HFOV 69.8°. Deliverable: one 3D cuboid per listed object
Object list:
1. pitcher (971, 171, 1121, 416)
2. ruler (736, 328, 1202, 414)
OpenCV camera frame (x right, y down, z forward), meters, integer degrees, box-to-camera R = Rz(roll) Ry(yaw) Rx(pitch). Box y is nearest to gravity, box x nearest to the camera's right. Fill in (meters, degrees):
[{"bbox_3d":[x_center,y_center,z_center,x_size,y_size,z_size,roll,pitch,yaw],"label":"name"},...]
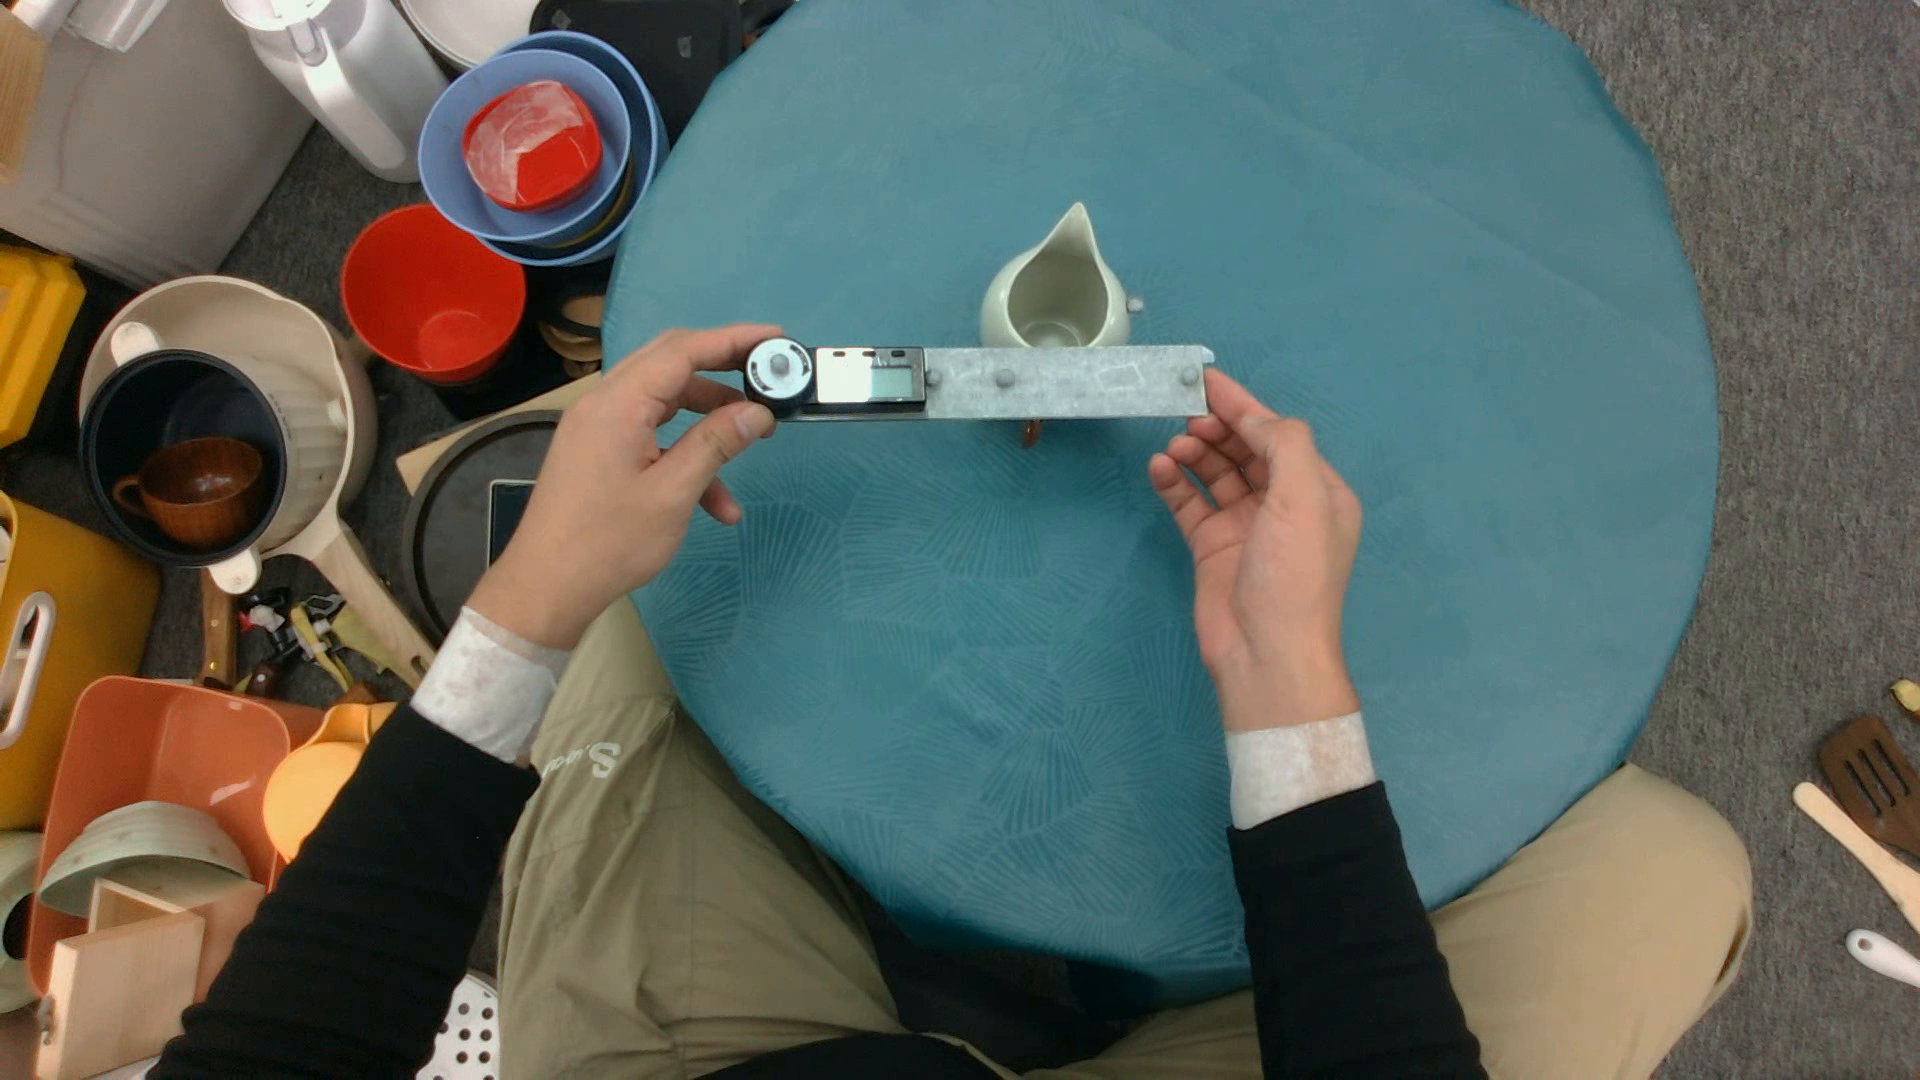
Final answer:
[{"bbox_3d":[0.041,-0.114,0.700,0.076,0.087,0.119,15,79,6],"label":"pitcher"},{"bbox_3d":[0.006,-0.080,0.635,0.218,0.024,0.038,-1,82,-6],"label":"ruler"}]
